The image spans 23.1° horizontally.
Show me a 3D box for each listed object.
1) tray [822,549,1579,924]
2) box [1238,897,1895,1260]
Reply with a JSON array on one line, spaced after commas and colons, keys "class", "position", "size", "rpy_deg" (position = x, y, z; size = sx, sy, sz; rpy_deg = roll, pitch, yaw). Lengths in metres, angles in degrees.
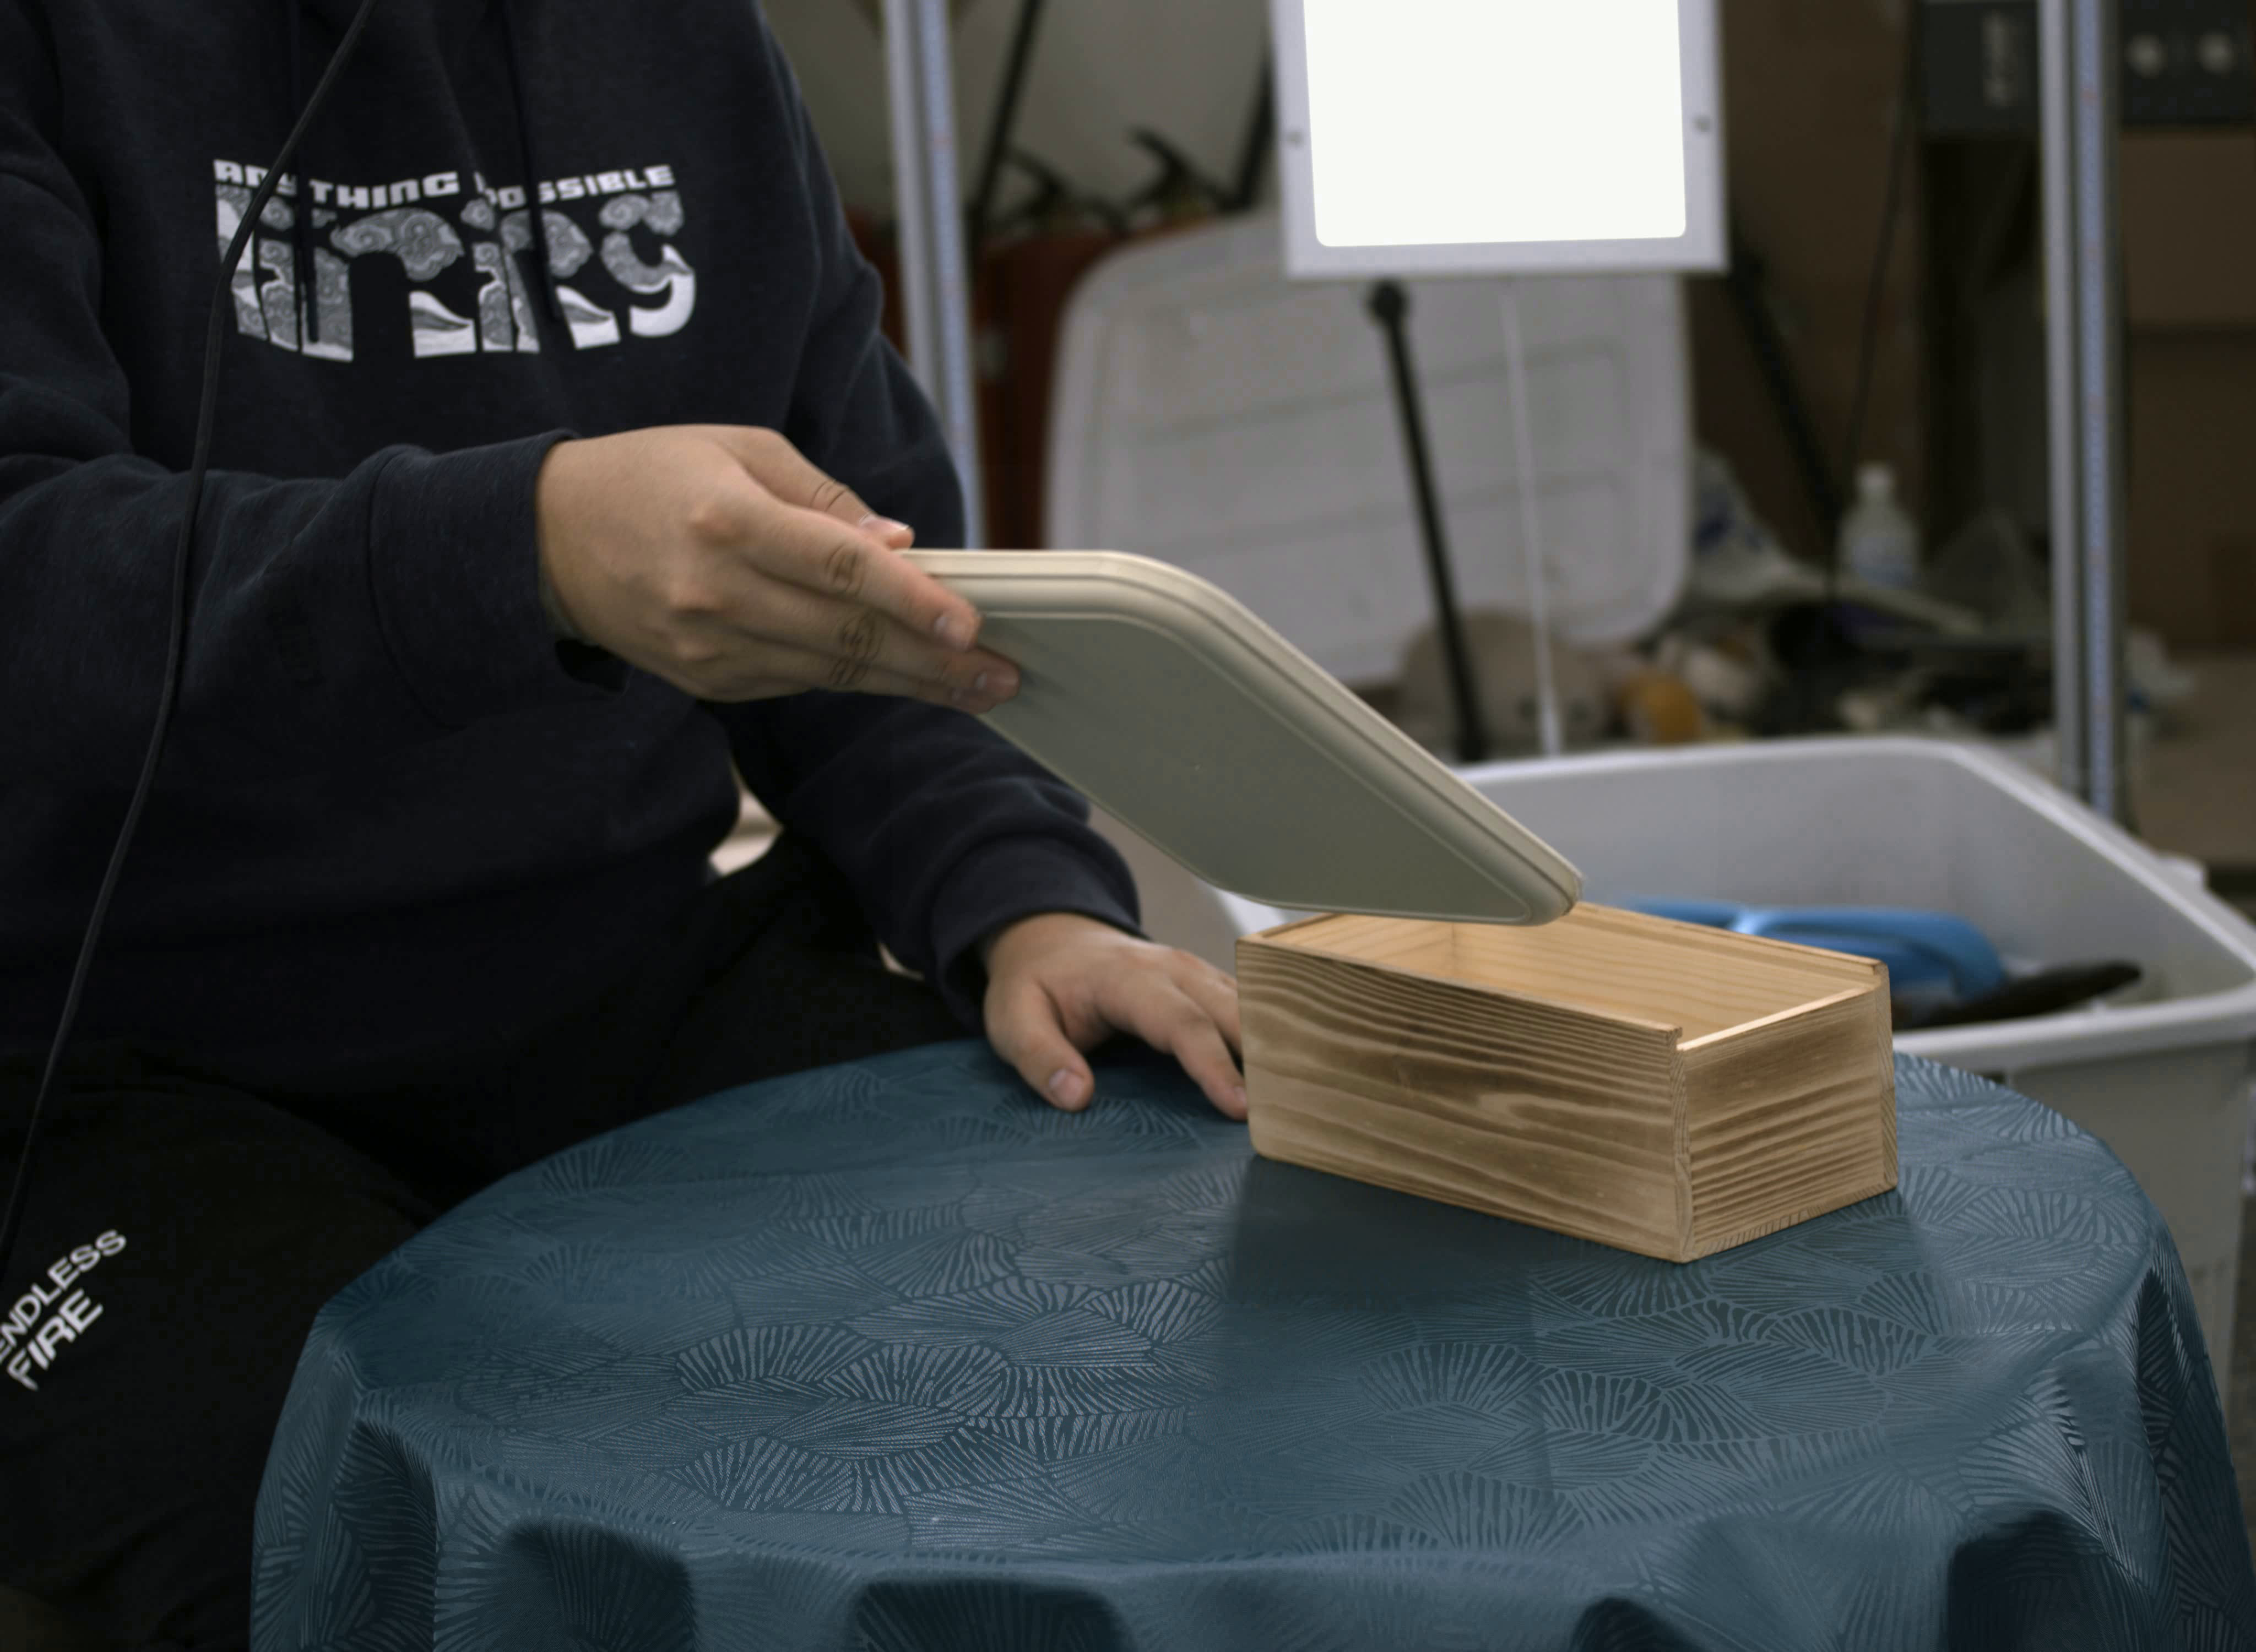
[{"class": "tray", "position": [0.023, -0.025, 1.761], "size": [0.175, 0.017, 0.235], "rpy_deg": [3, -25, 46]}, {"class": "box", "position": [0.148, 0.079, 1.873], "size": [0.105, 0.080, 0.216], "rpy_deg": [-15, 16, -38]}]
